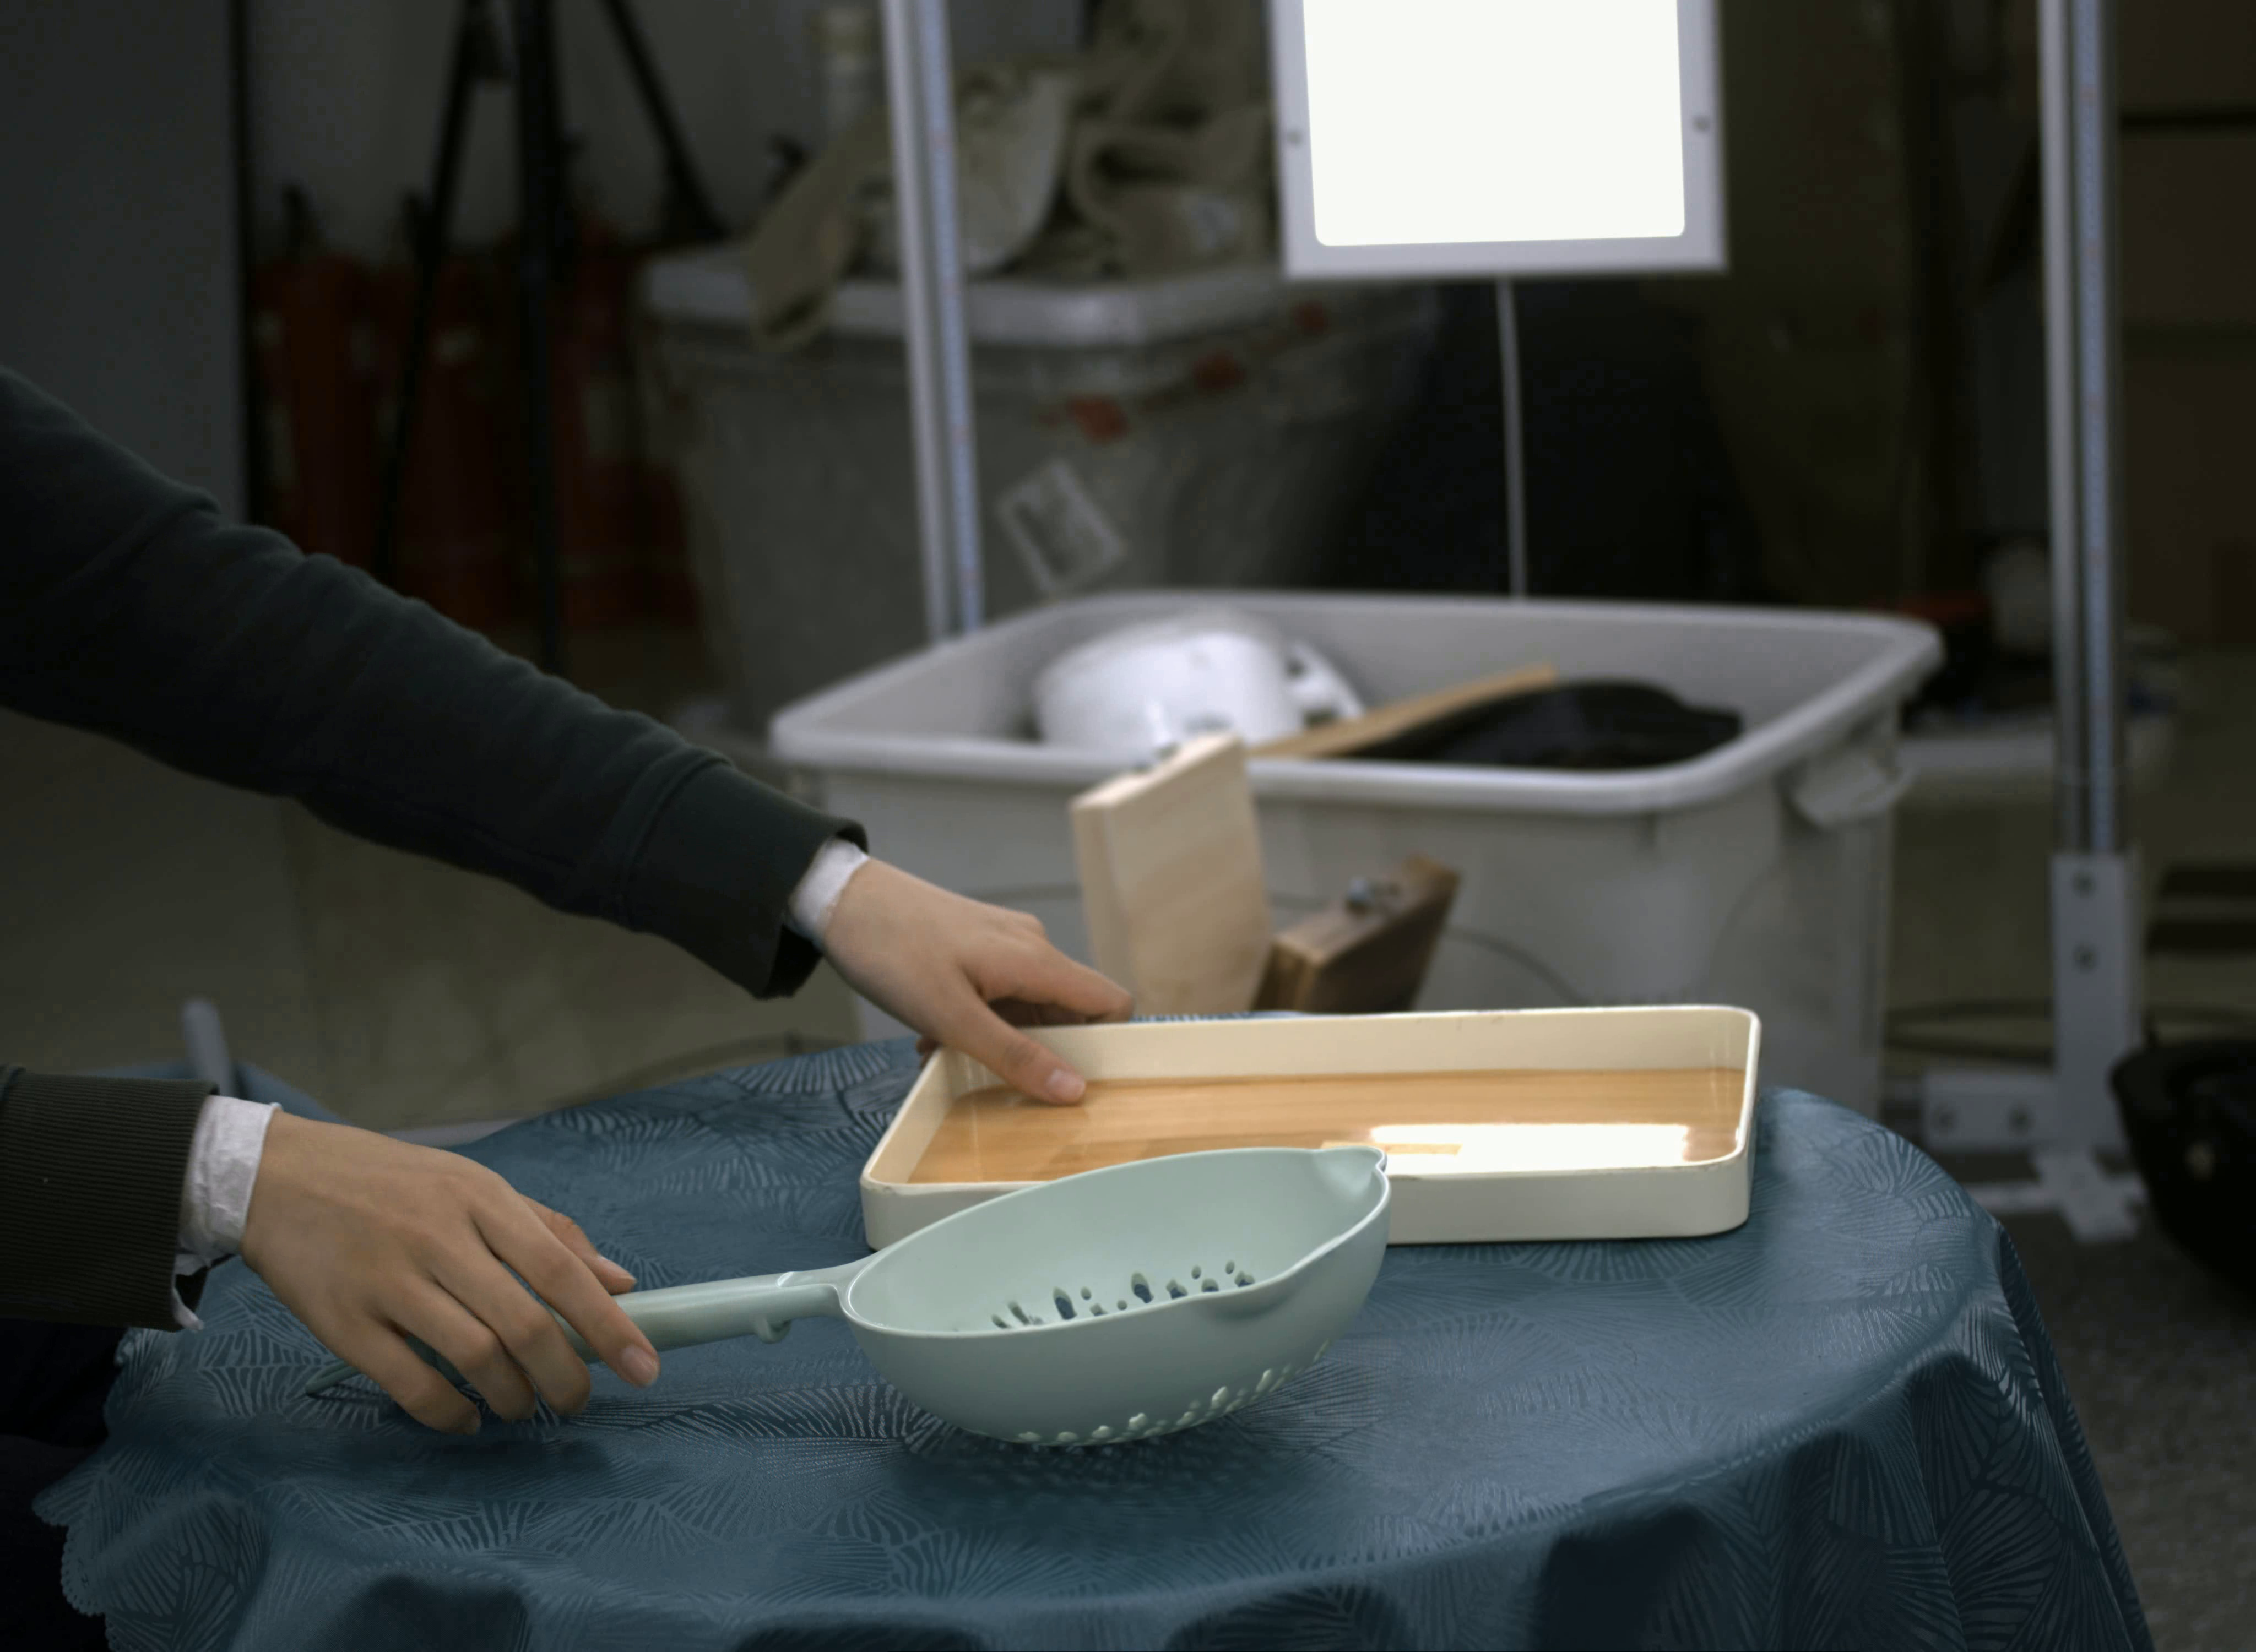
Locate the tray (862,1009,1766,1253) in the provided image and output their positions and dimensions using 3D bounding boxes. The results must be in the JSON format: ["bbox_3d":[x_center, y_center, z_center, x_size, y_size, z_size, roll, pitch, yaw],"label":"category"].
[{"bbox_3d":[0.069,0.105,1.906,0.302,0.027,0.189,-2,14,11],"label":"tray"}]

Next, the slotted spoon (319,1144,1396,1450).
[{"bbox_3d":[-0.091,0.149,1.701,0.363,0.075,0.166,0,14,20],"label":"slotted spoon"}]
